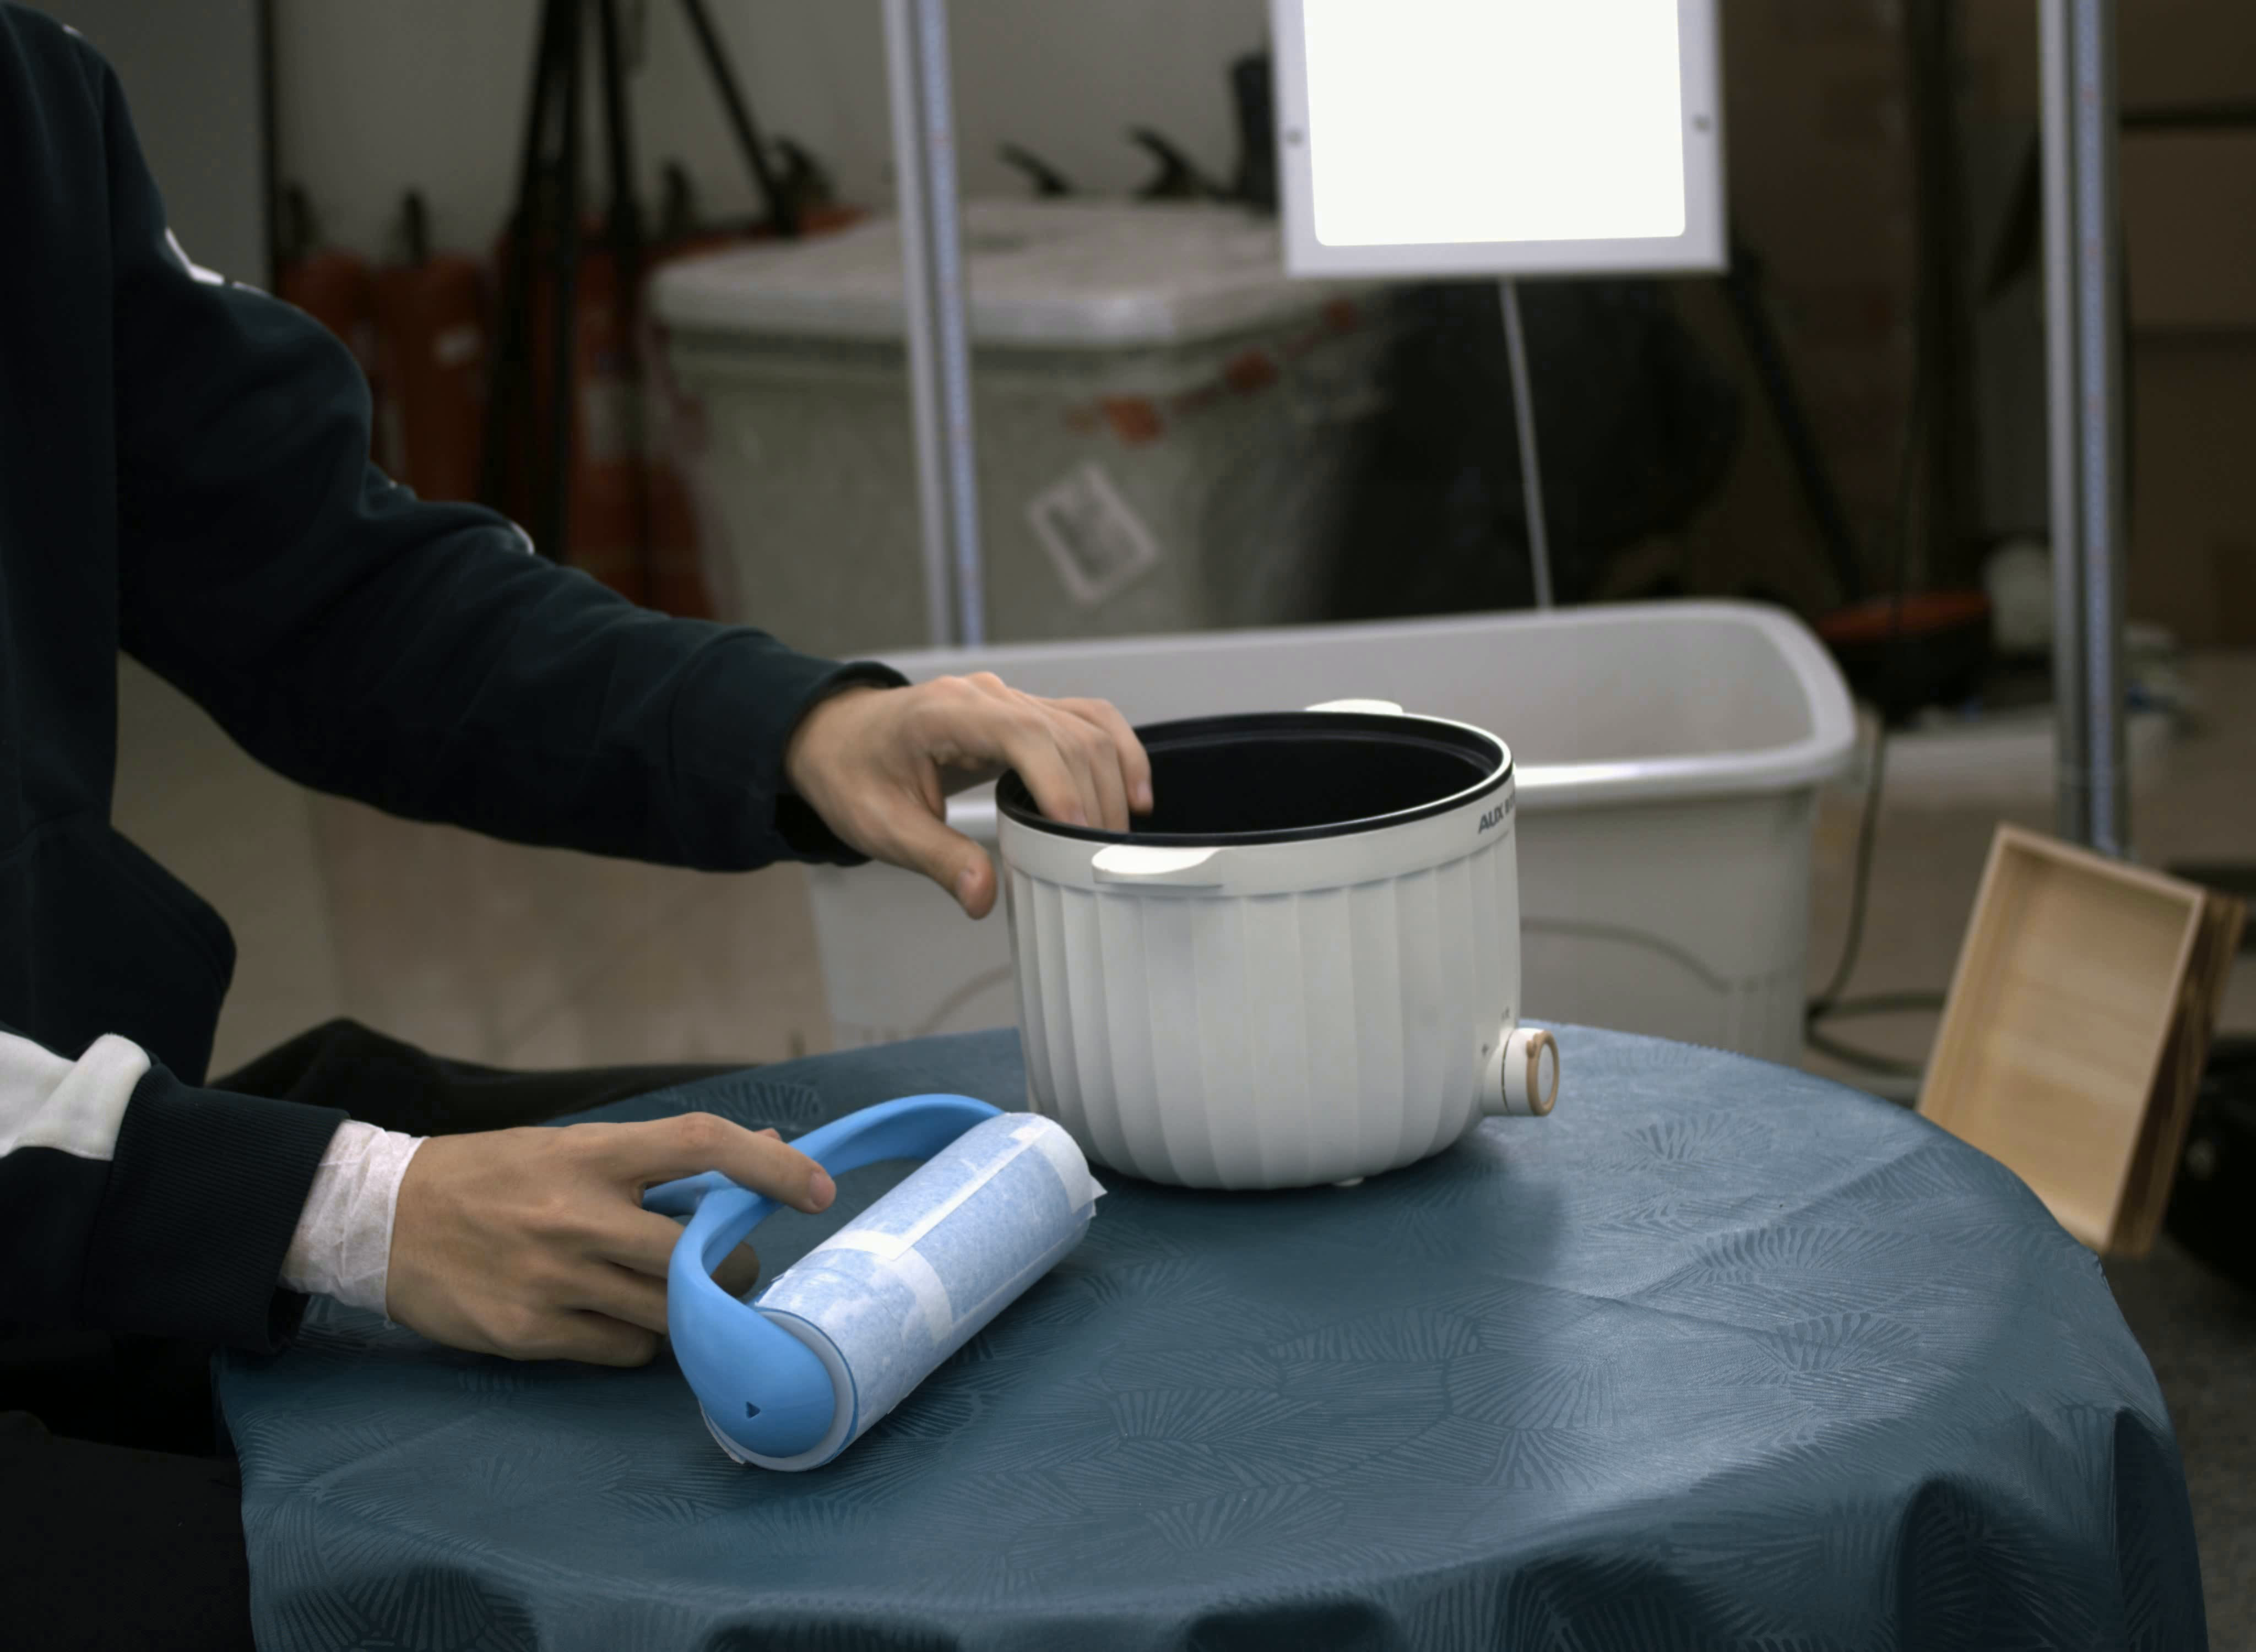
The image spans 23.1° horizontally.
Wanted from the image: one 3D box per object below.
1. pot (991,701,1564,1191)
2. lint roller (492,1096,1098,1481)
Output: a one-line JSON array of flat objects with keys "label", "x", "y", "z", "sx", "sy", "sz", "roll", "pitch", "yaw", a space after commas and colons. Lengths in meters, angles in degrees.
[{"label": "pot", "x": 0.054, "y": 0.044, "z": 1.918, "sx": 0.193, "sy": 0.143, "sz": 0.236, "roll": -2, "pitch": 15, "yaw": 23}, {"label": "lint roller", "x": -0.123, "y": 0.143, "z": 1.754, "sx": 0.182, "sy": 0.068, "sz": 0.225, "roll": 1, "pitch": 17, "yaw": 19}]
